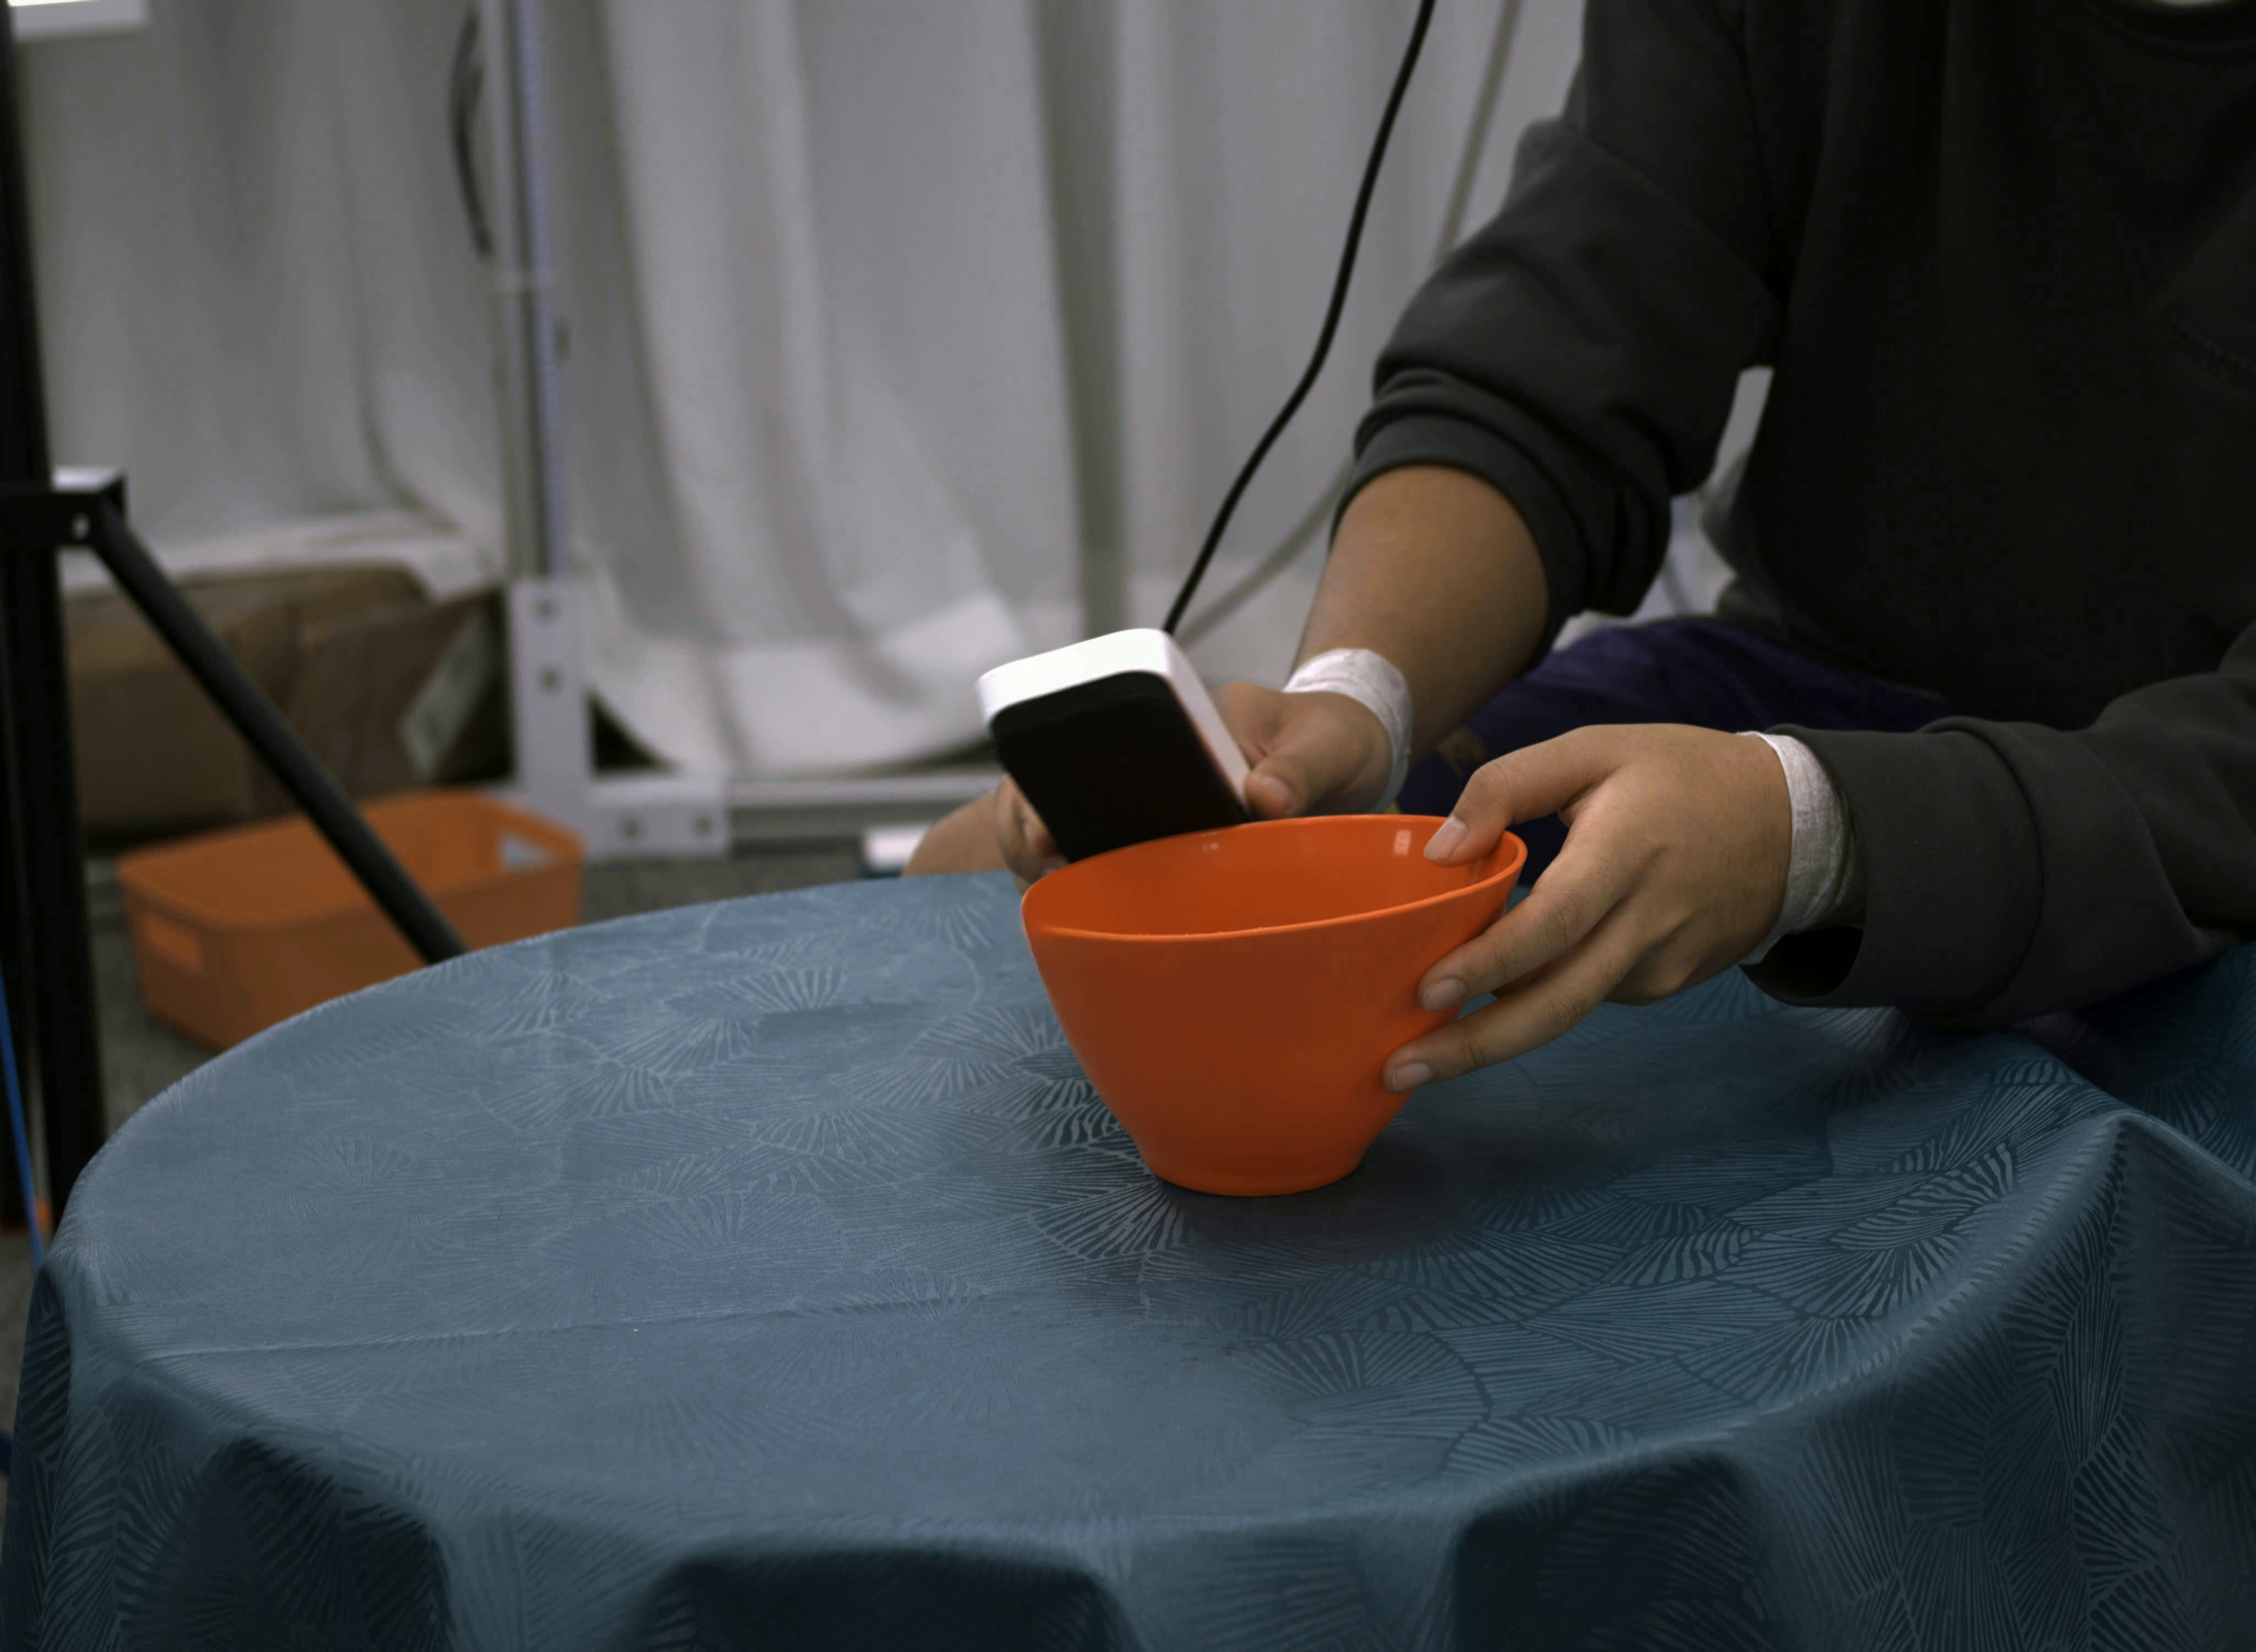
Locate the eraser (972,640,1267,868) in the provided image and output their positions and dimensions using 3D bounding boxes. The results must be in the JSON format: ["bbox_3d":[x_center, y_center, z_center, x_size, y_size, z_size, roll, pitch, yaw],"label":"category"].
[{"bbox_3d":[0.001,-0.016,1.612,0.064,0.035,0.129,-15,-30,14],"label":"eraser"}]

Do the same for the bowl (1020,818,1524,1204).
[{"bbox_3d":[0.042,0.054,1.556,0.147,0.104,0.149,-2,19,-1],"label":"bowl"}]
